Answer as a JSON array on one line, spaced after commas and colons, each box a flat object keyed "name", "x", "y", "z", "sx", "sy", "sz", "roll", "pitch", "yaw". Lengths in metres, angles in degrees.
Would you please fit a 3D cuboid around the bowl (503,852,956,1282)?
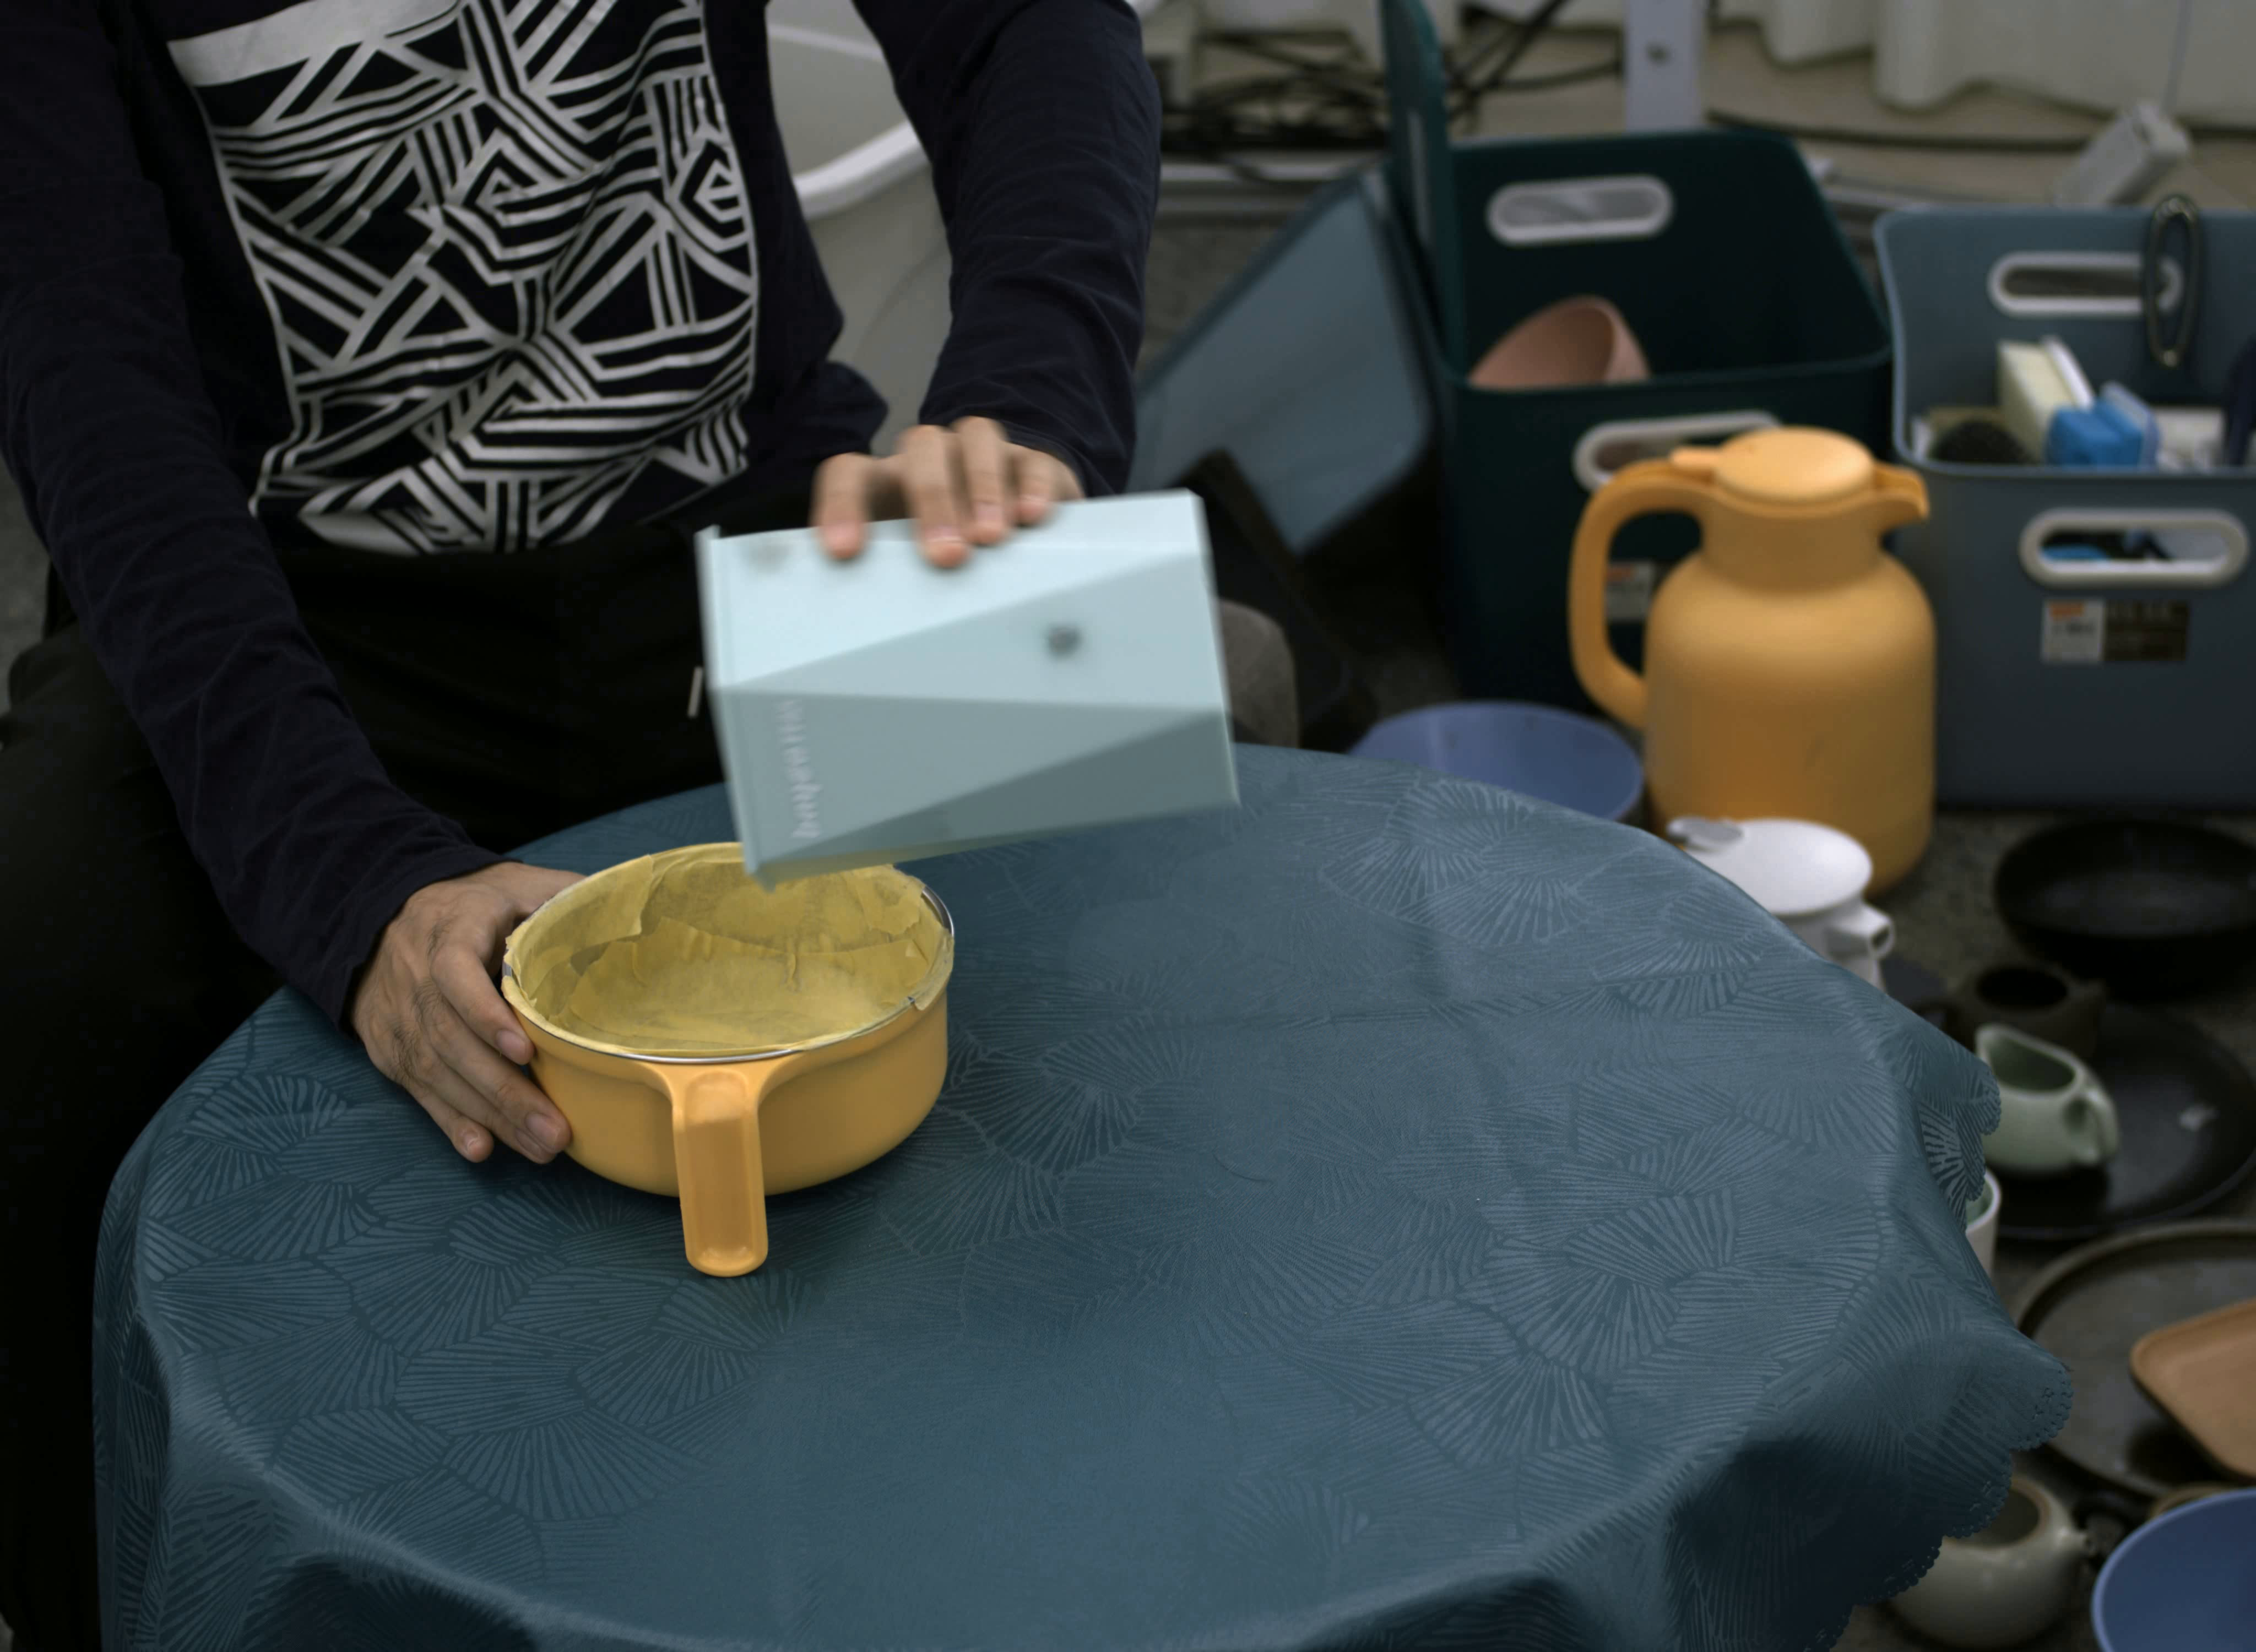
[{"name": "bowl", "x": -0.132, "y": 0.078, "z": 1.887, "sx": 0.152, "sy": 0.073, "sz": 0.181, "roll": -5, "pitch": 25, "yaw": -3}]

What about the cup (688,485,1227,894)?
[{"name": "cup", "x": -0.054, "y": -0.050, "z": 1.841, "sx": 0.162, "sy": 0.130, "sz": 0.116, "roll": -9, "pitch": 19, "yaw": 3}]
